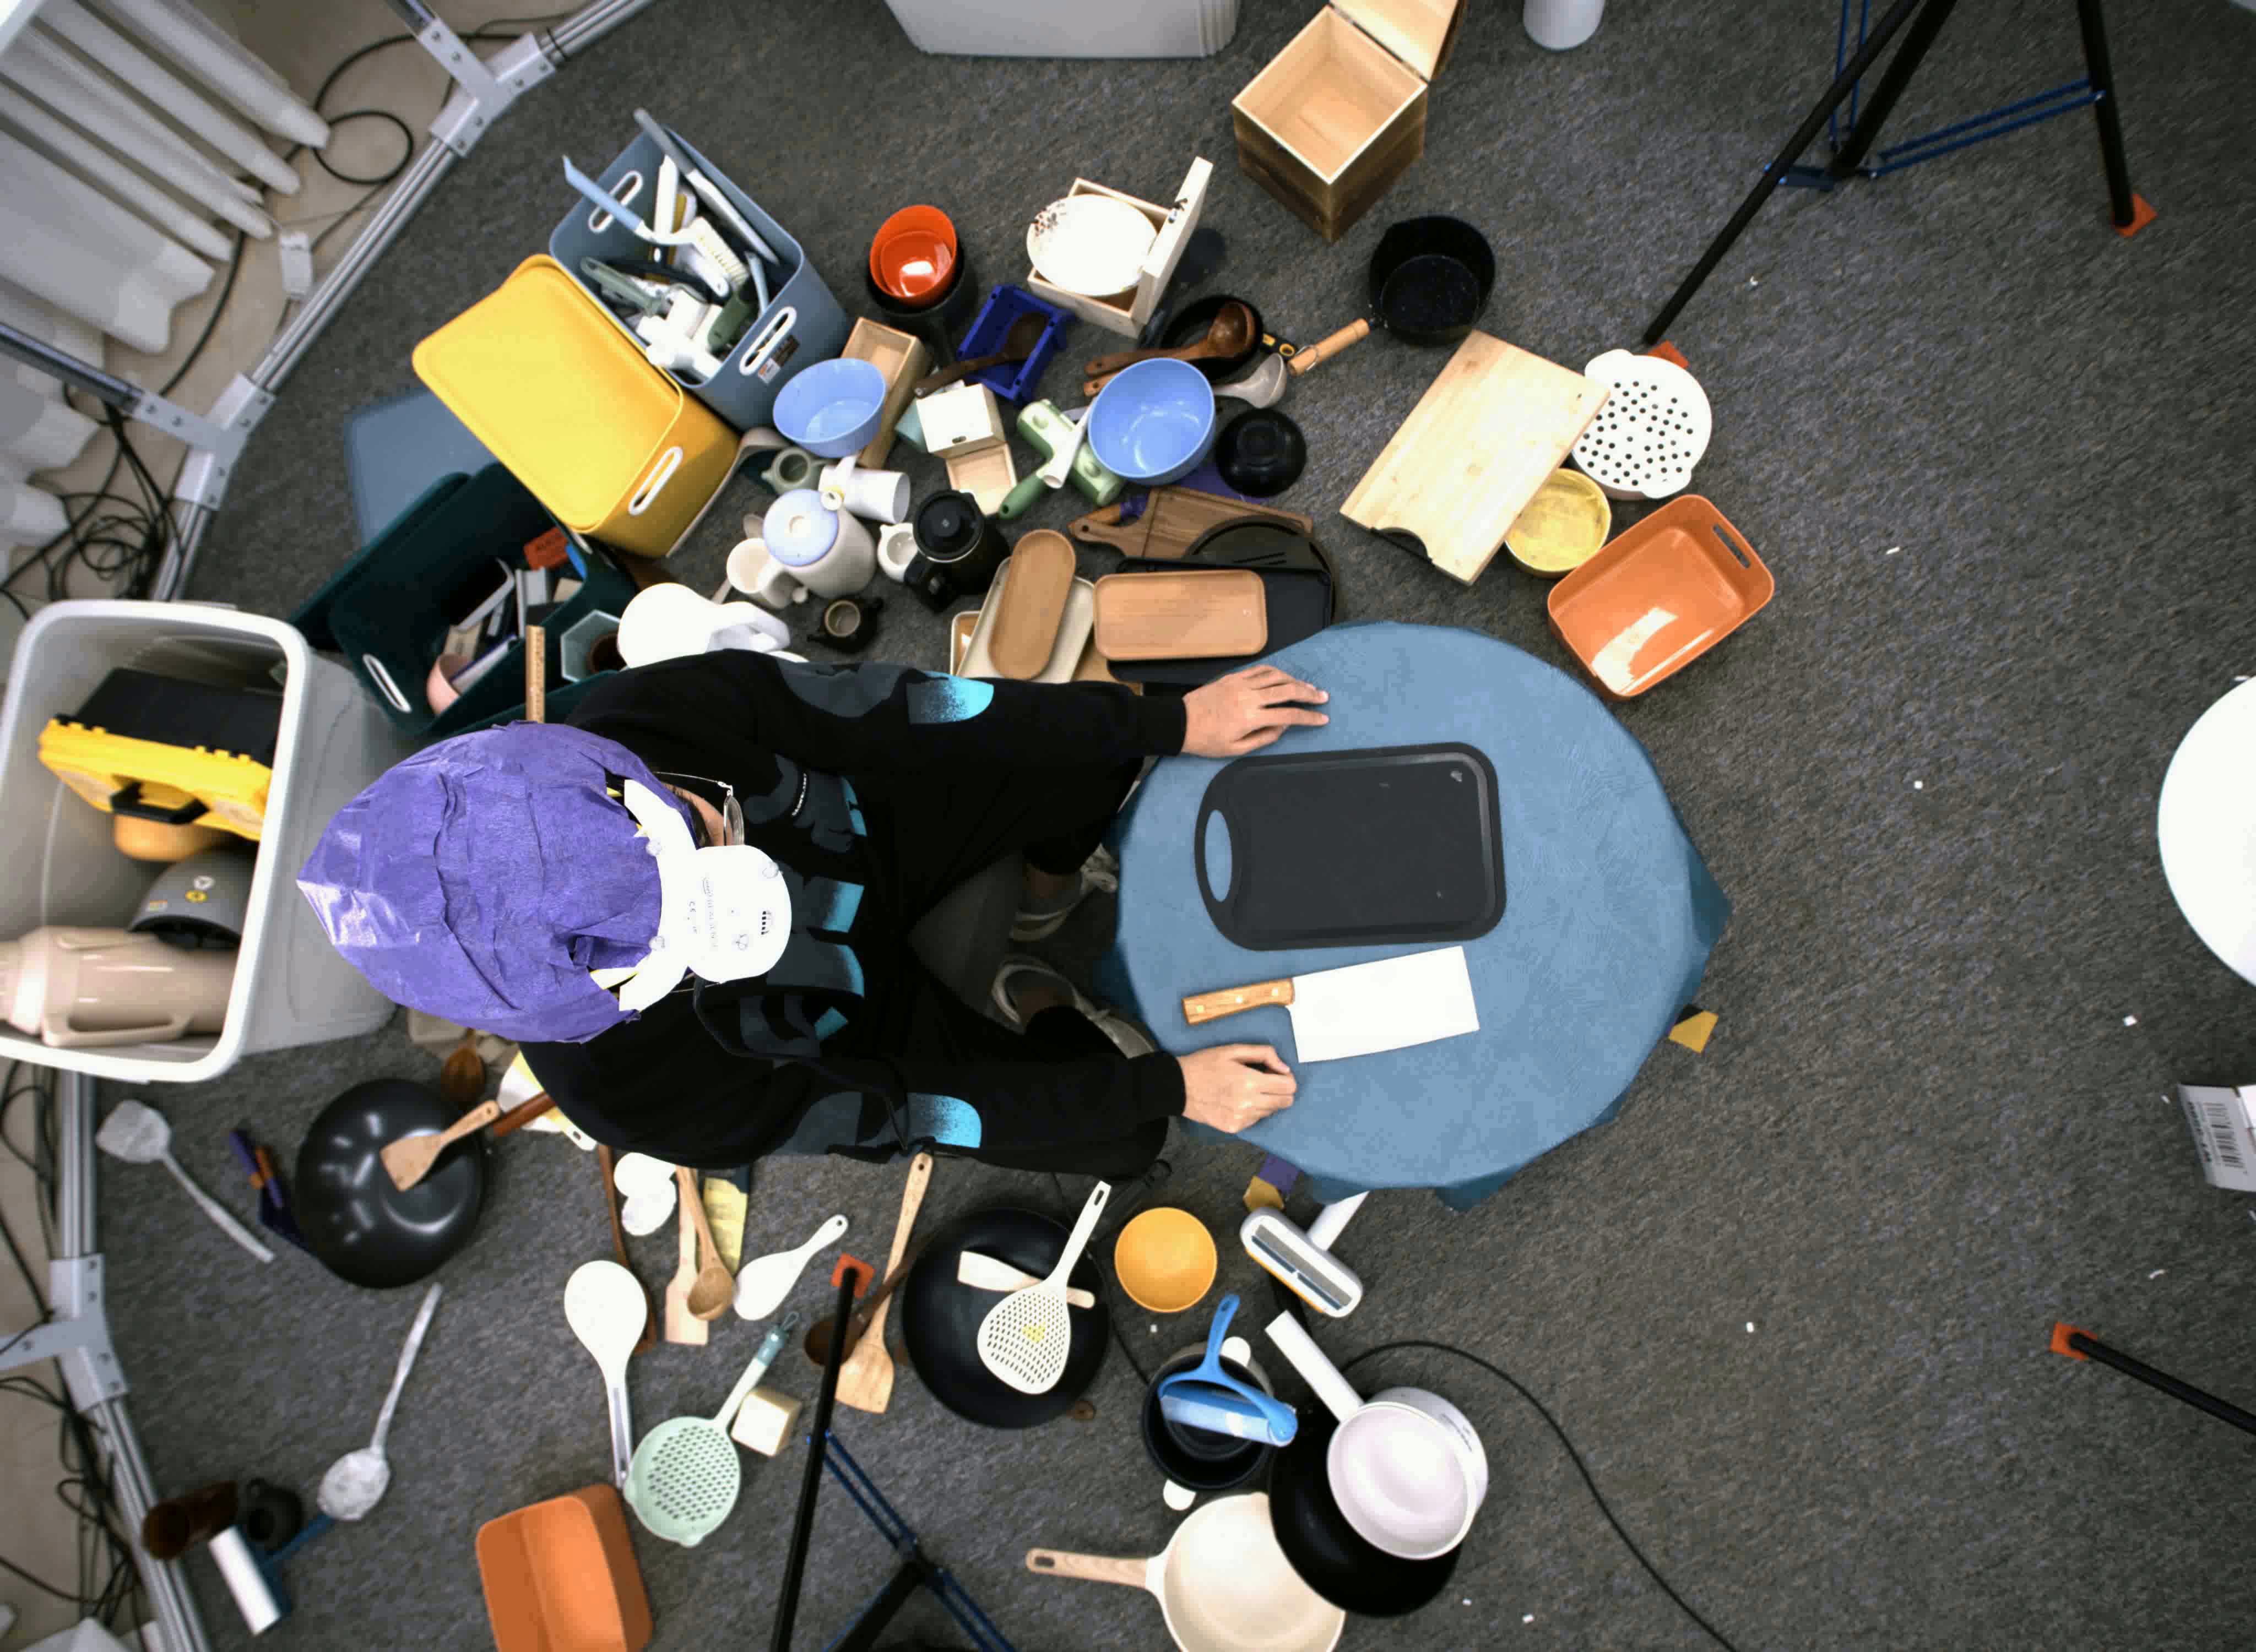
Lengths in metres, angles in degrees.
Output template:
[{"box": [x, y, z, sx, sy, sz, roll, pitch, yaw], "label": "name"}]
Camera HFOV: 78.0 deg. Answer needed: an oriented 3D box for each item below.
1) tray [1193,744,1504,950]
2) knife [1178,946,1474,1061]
[{"box": [0.230, 0.022, 1.466, 0.327, 0.010, 0.210, -3, 86, 10], "label": "tray"}, {"box": [0.208, 0.195, 1.457, 0.307, 0.021, 0.092, -12, 86, 7], "label": "knife"}]
